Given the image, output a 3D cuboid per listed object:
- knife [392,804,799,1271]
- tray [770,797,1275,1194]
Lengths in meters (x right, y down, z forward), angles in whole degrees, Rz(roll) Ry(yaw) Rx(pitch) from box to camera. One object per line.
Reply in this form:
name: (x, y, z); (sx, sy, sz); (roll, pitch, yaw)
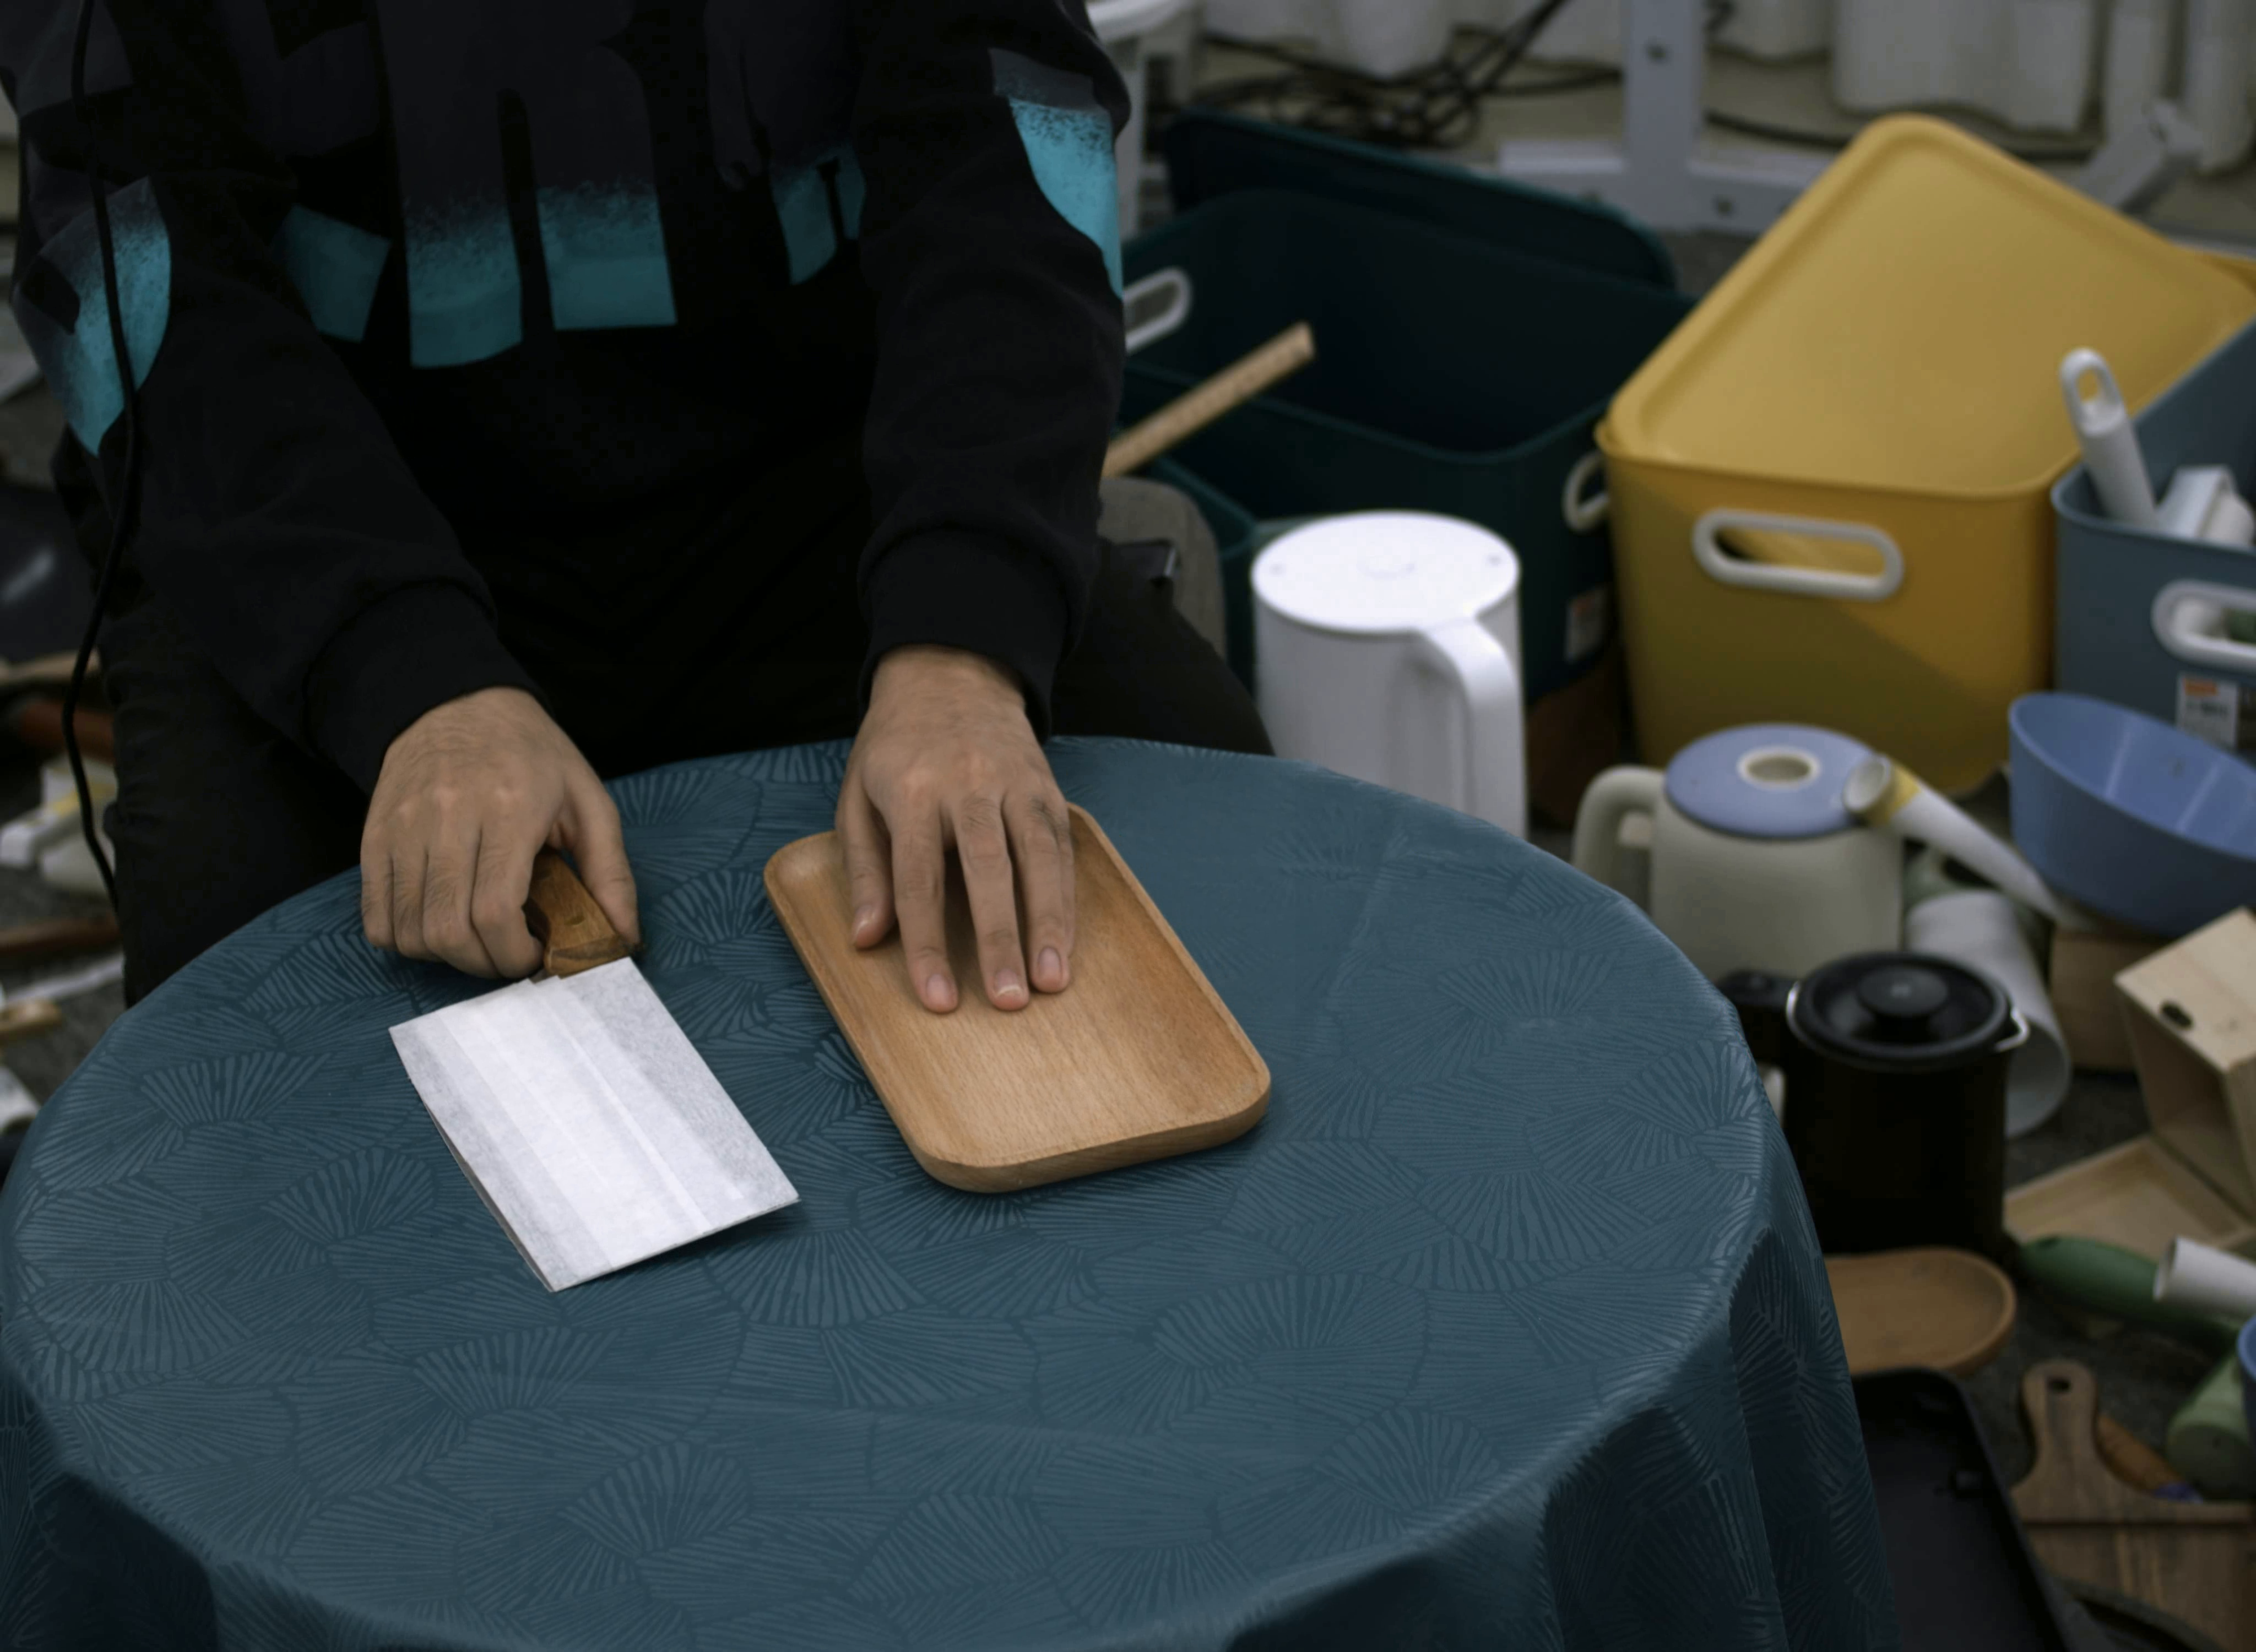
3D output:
knife: (-0.205, 0.074, 1.960); (0.093, 0.021, 0.308); (-20, 32, -15)
tray: (-0.040, 0.057, 1.974); (0.130, 0.022, 0.253); (-8, 27, -14)
